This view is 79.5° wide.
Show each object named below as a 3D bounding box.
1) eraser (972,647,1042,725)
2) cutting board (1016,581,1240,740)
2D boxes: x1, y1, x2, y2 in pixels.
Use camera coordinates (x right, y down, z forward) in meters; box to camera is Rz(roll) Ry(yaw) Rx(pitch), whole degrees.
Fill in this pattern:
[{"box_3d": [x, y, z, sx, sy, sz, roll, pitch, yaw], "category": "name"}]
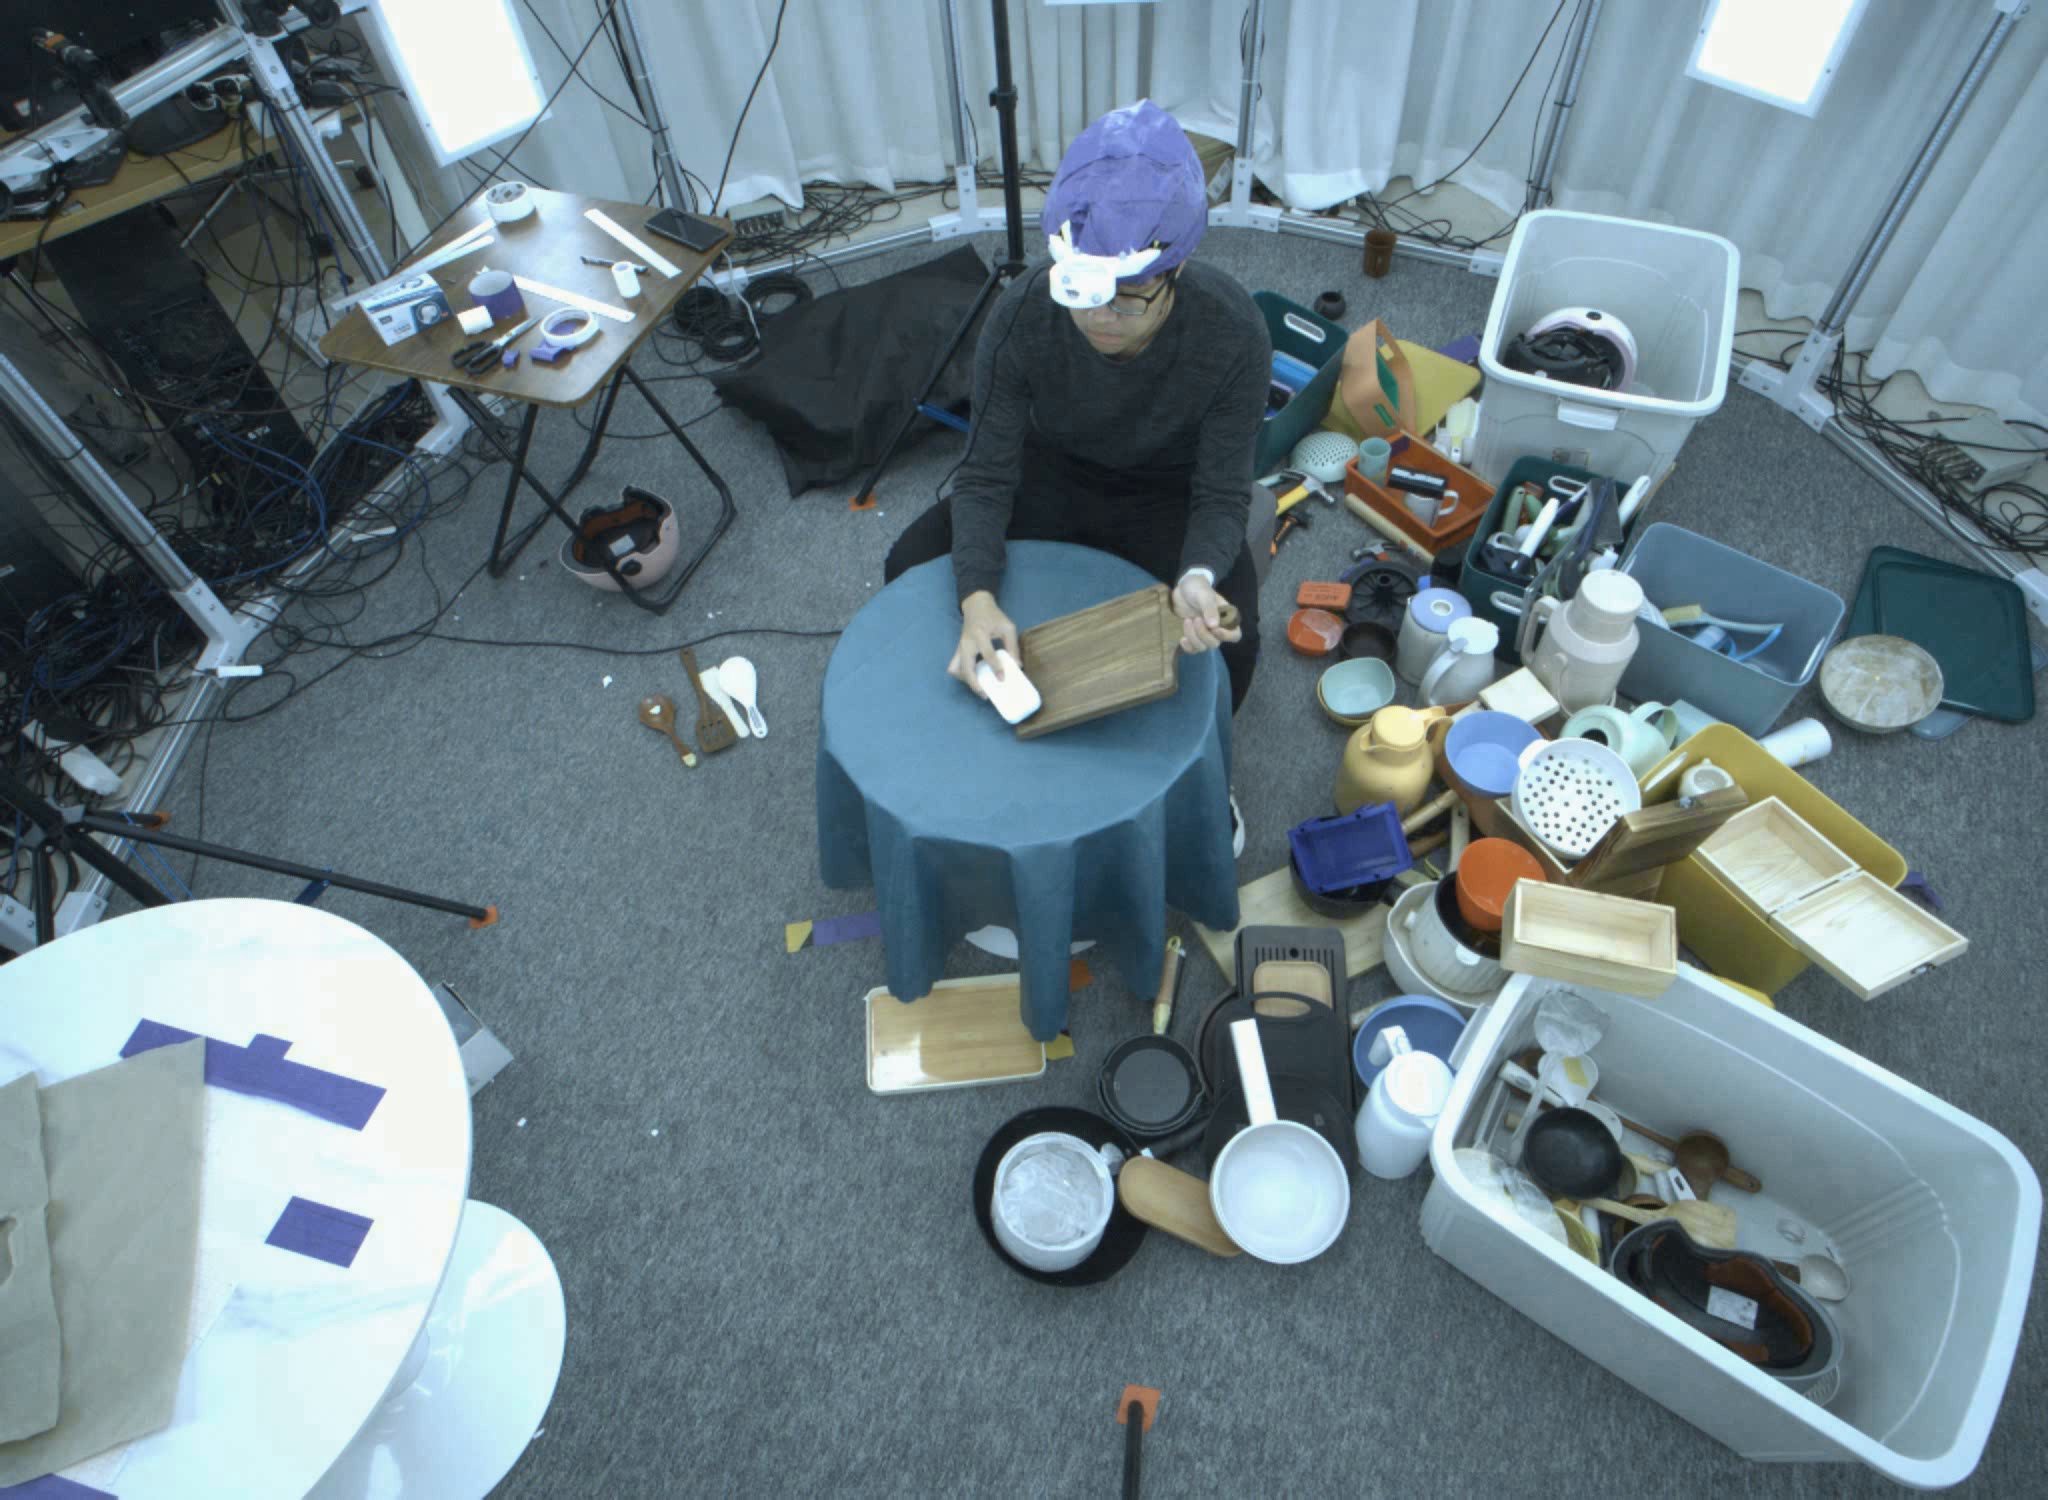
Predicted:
[{"box_3d": [-0.024, -0.097, 1.814, 0.063, 0.035, 0.129, -34, 56, -1], "category": "eraser"}, {"box_3d": [0.144, -0.144, 1.779, 0.348, 0.024, 0.199, -16, 54, 22], "category": "cutting board"}]
